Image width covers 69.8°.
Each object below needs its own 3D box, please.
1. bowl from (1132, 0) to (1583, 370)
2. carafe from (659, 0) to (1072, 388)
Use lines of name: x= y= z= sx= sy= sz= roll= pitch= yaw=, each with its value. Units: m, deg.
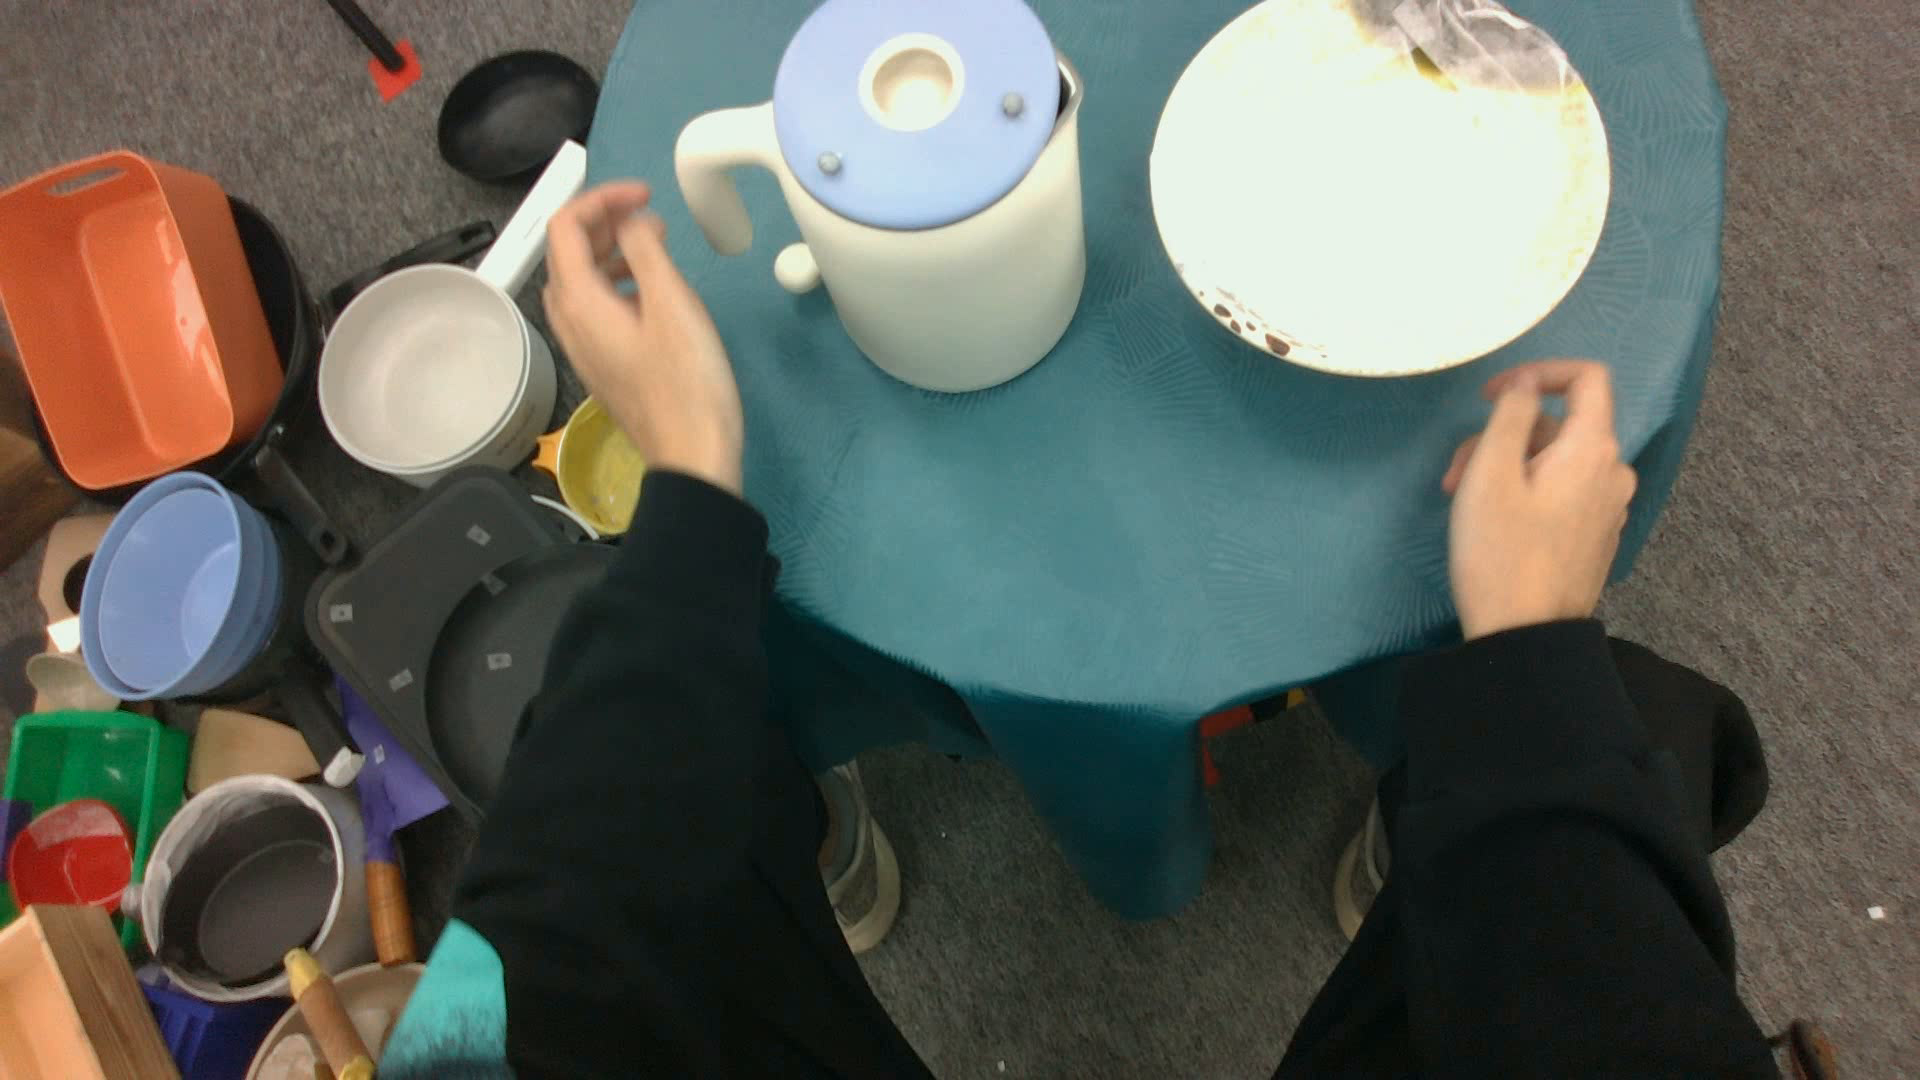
bowl: x=0.186 y=-0.167 z=0.673 sx=0.204 sy=0.078 sz=0.204 roll=-1 pitch=77 yaw=6
carafe: x=-0.041 y=-0.160 z=0.645 sx=0.191 sy=0.182 sz=0.132 roll=-4 pitch=73 yaw=8
